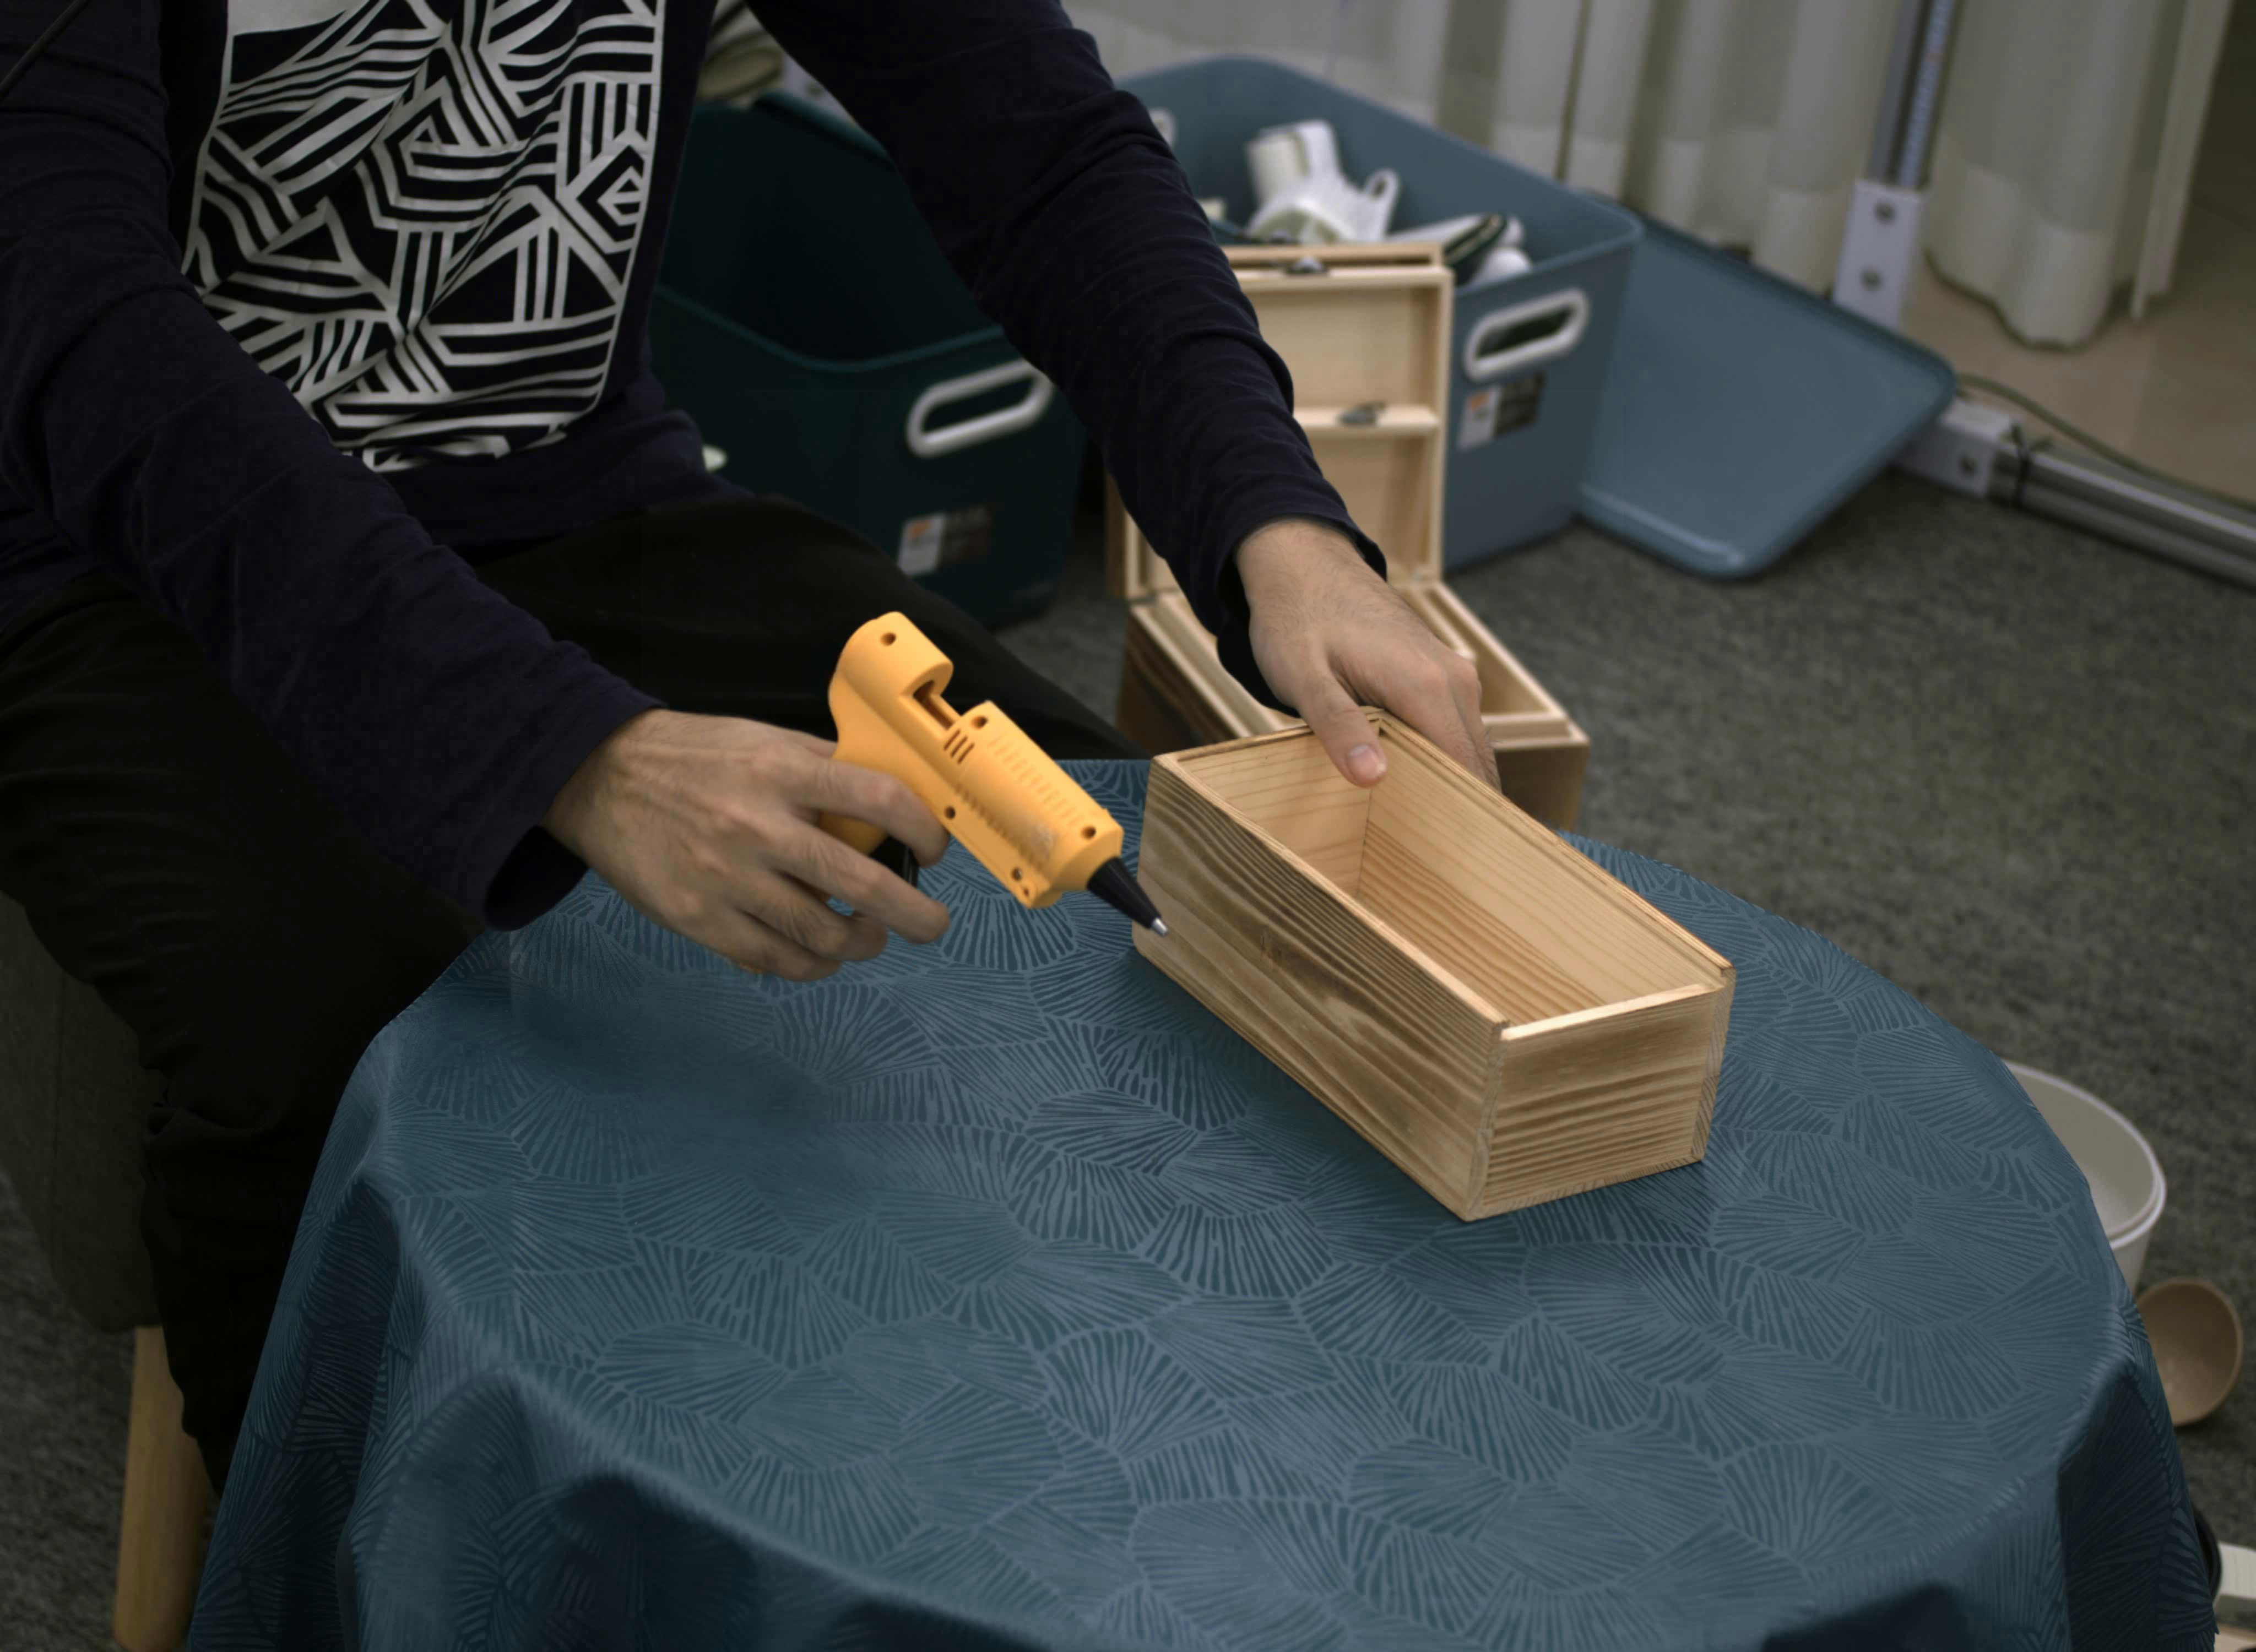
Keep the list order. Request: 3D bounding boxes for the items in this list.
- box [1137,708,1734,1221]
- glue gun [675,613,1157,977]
[{"bbox_3d":[0.106,0.046,1.900,0.107,0.080,0.213,-11,32,-31],"label":"box"},{"bbox_3d":[-0.067,0.022,1.804,0.152,0.133,0.031,39,11,23],"label":"glue gun"}]
